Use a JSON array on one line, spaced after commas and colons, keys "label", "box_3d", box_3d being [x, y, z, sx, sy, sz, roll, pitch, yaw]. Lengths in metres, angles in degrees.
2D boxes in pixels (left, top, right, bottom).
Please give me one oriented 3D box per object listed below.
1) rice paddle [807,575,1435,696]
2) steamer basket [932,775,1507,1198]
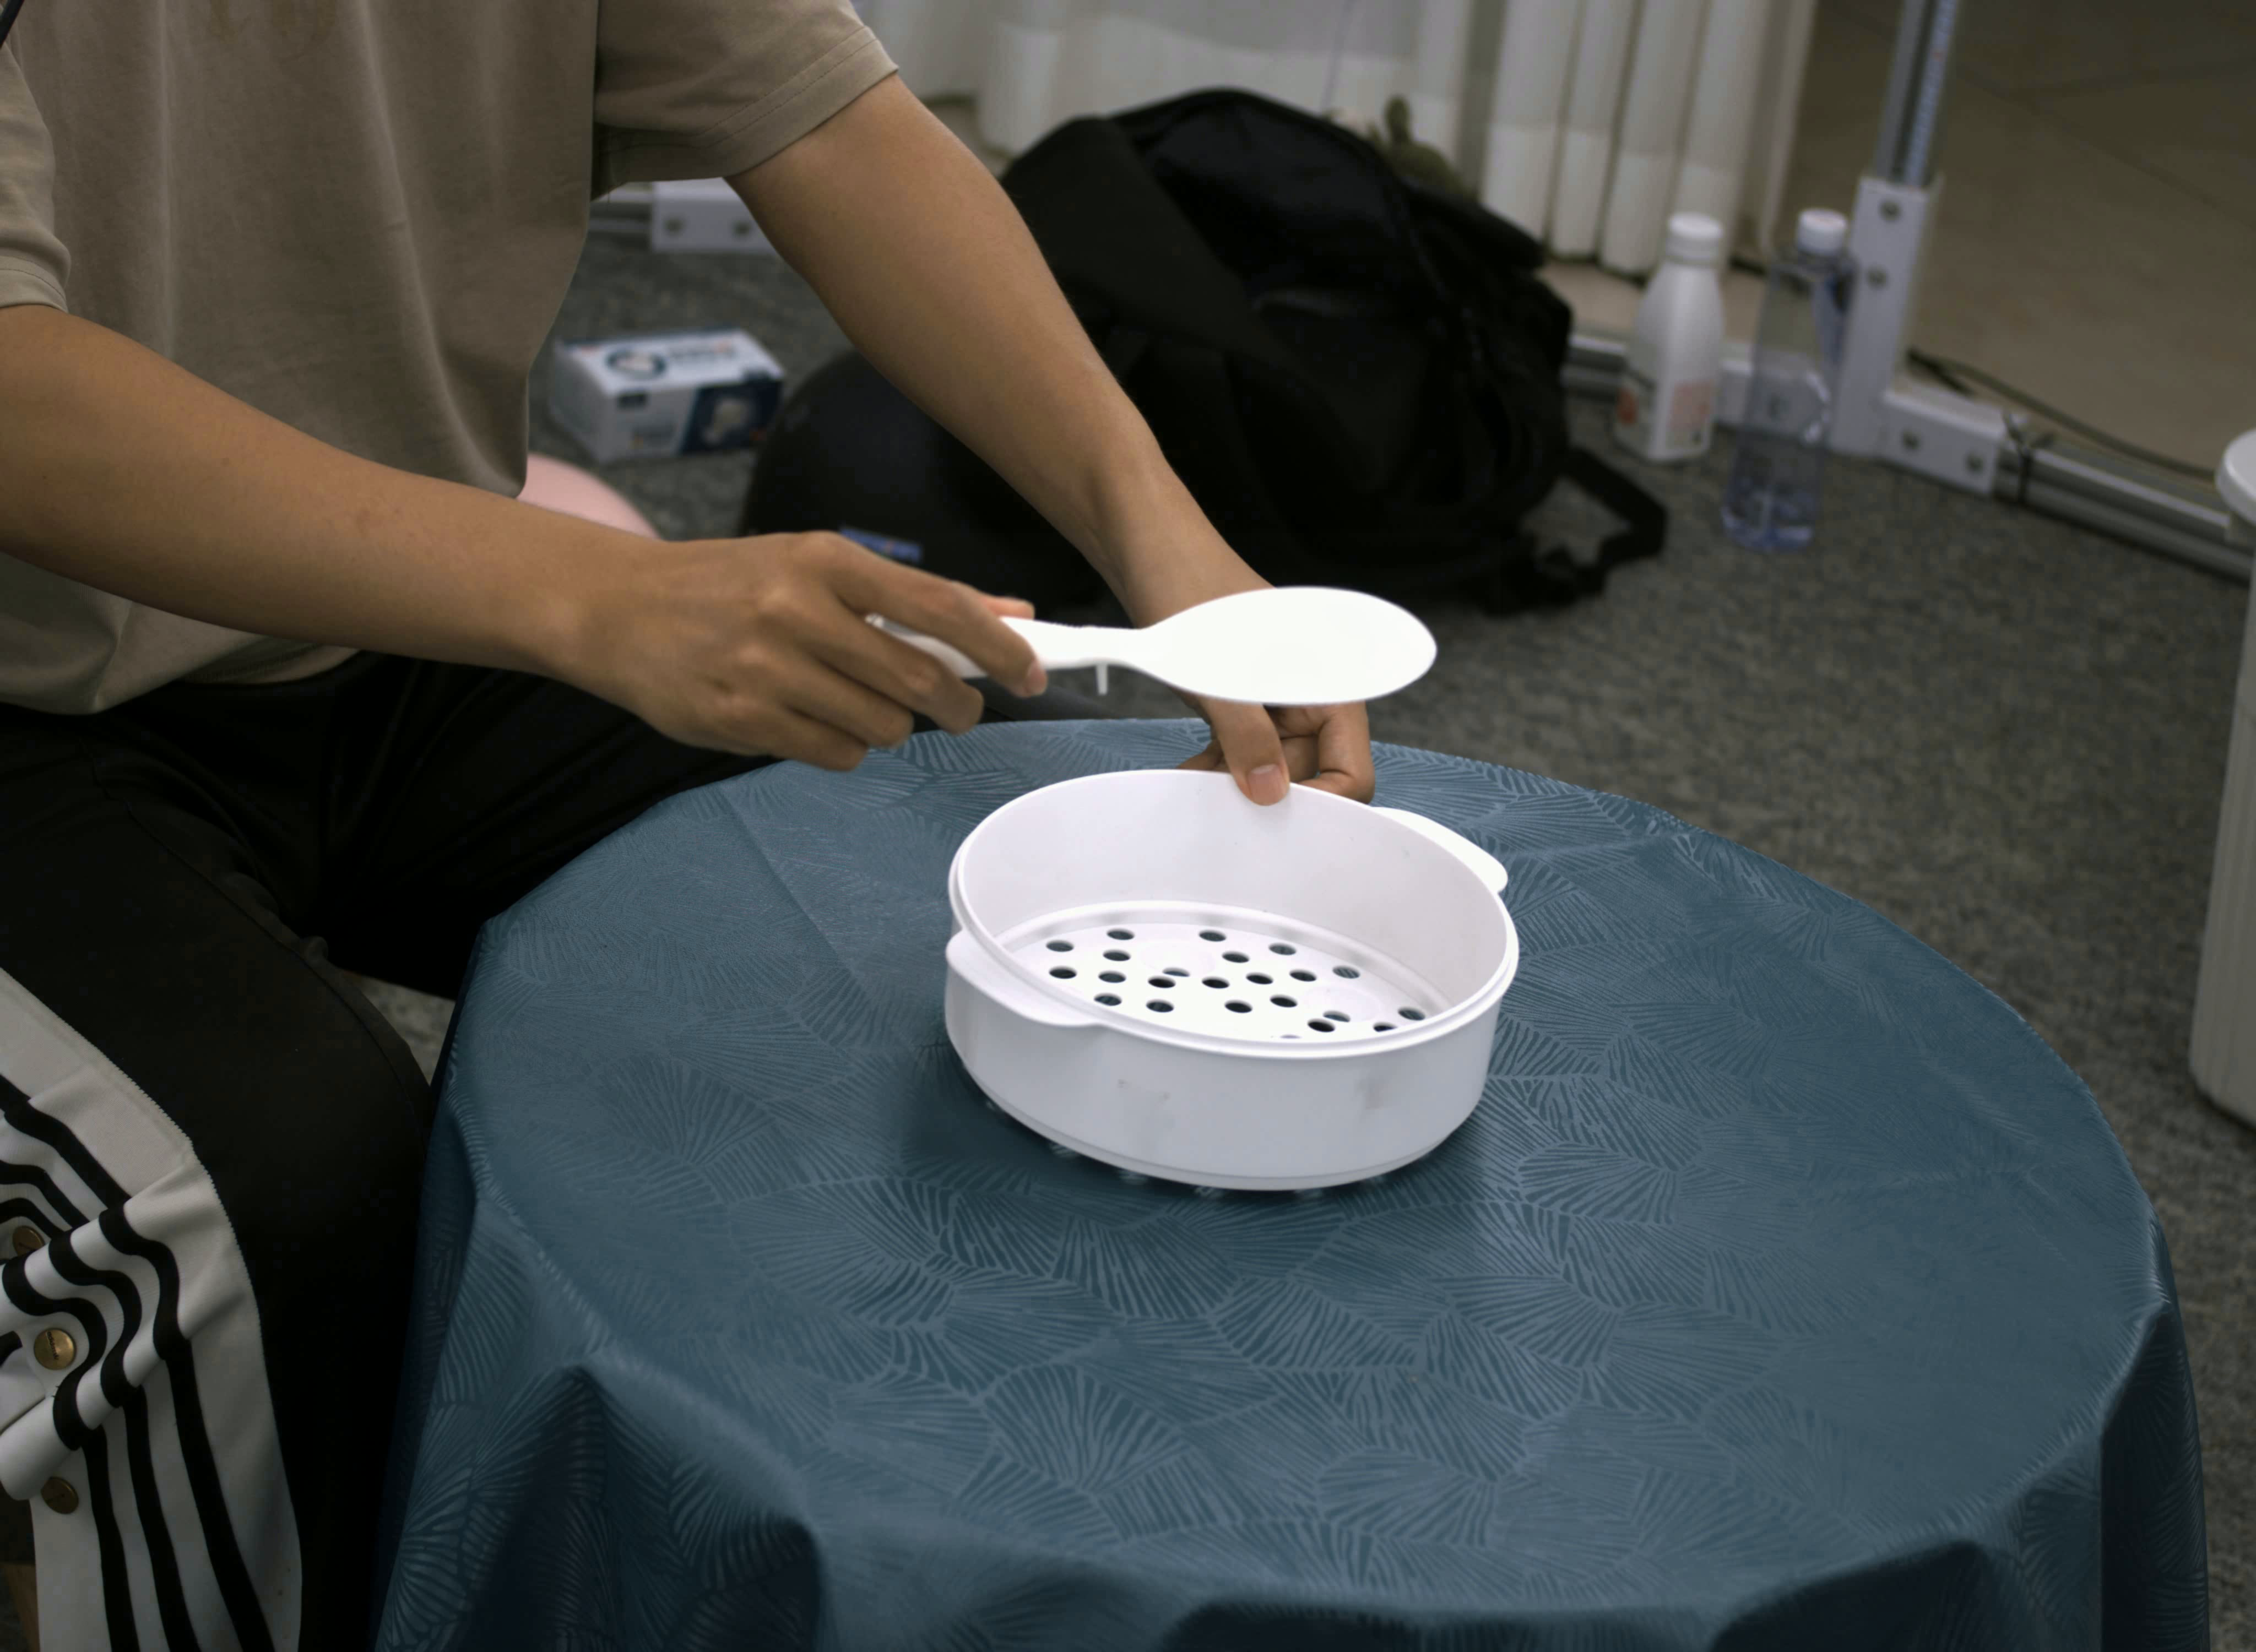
[{"label": "rice paddle", "box_3d": [-0.002, -0.062, 1.740, 0.205, 0.029, 0.069, -1, 36, 1]}, {"label": "steamer basket", "box_3d": [0.029, 0.057, 1.869, 0.229, 0.069, 0.203, -15, 35, -39]}]
